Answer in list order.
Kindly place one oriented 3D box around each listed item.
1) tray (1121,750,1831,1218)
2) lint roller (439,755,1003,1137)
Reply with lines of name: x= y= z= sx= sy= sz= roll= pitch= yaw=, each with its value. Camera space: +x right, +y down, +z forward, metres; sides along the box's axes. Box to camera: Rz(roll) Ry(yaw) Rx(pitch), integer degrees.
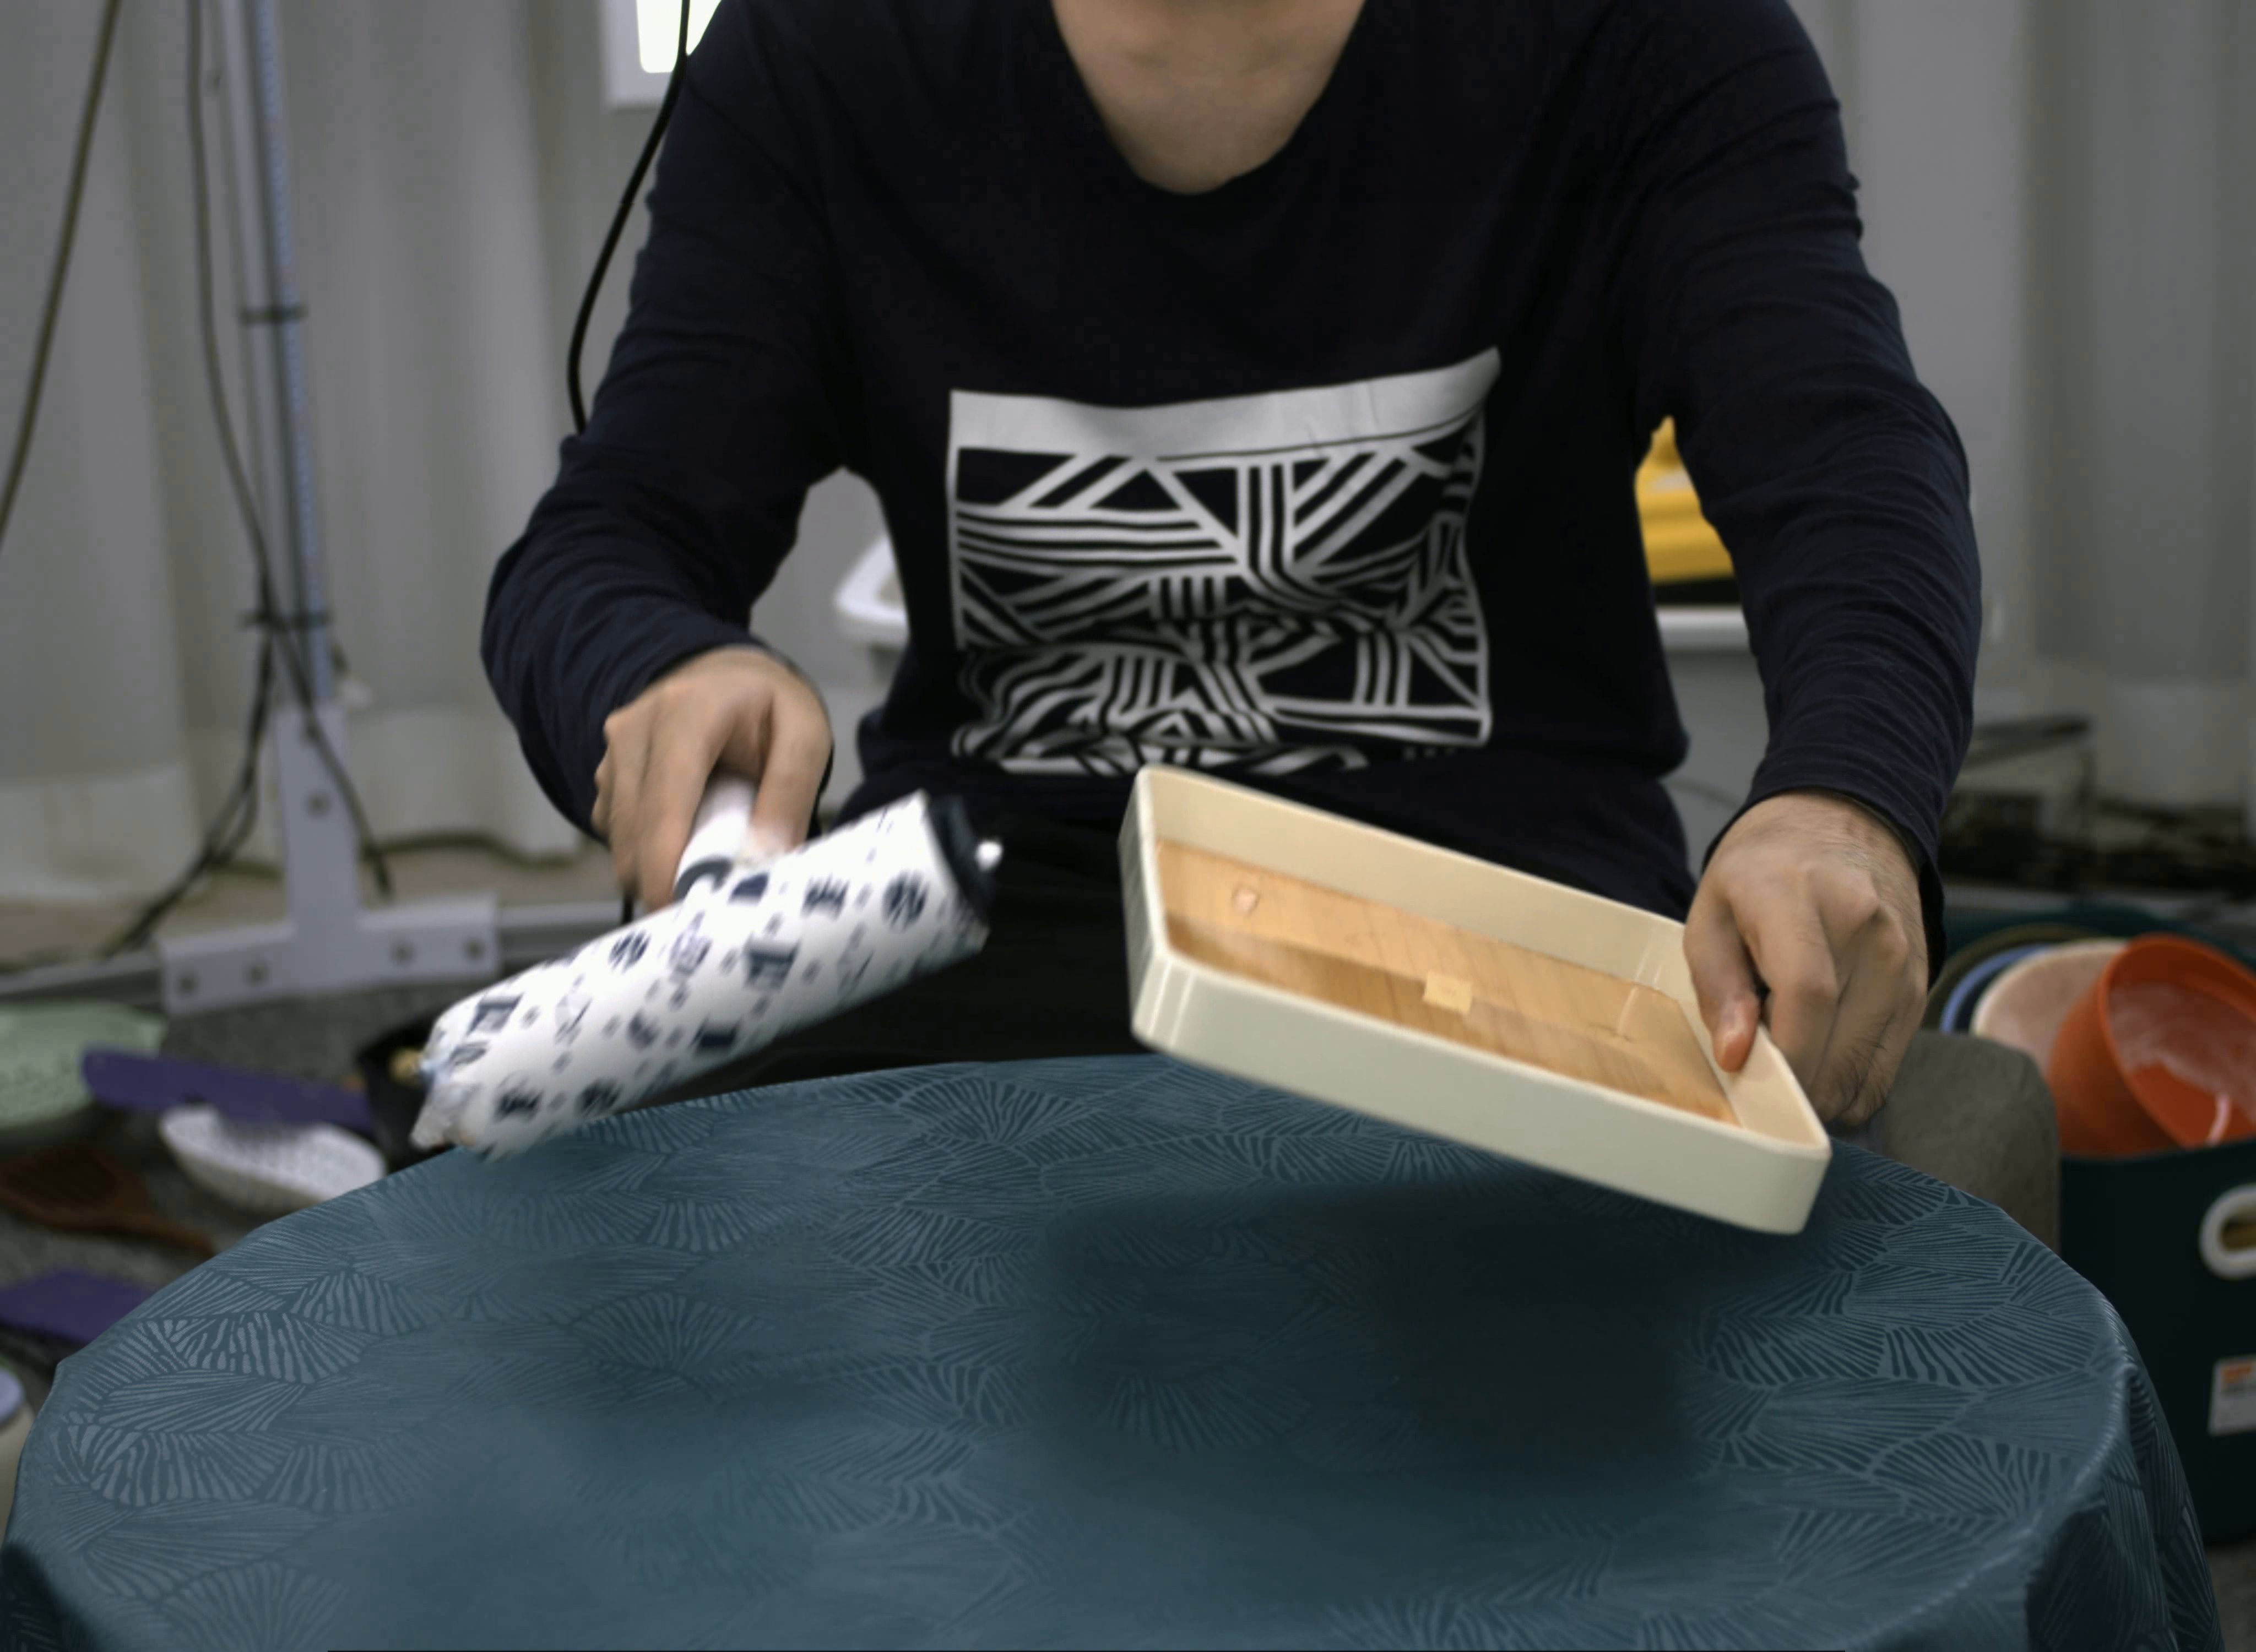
tray: x=0.092 y=0.041 z=1.576 sx=0.191 sy=0.027 sz=0.302 roll=16 pitch=10 yaw=-3
lint roller: x=-0.126 y=0.012 z=1.698 sx=0.176 sy=0.050 sz=0.249 roll=-27 pitch=15 yaw=3
